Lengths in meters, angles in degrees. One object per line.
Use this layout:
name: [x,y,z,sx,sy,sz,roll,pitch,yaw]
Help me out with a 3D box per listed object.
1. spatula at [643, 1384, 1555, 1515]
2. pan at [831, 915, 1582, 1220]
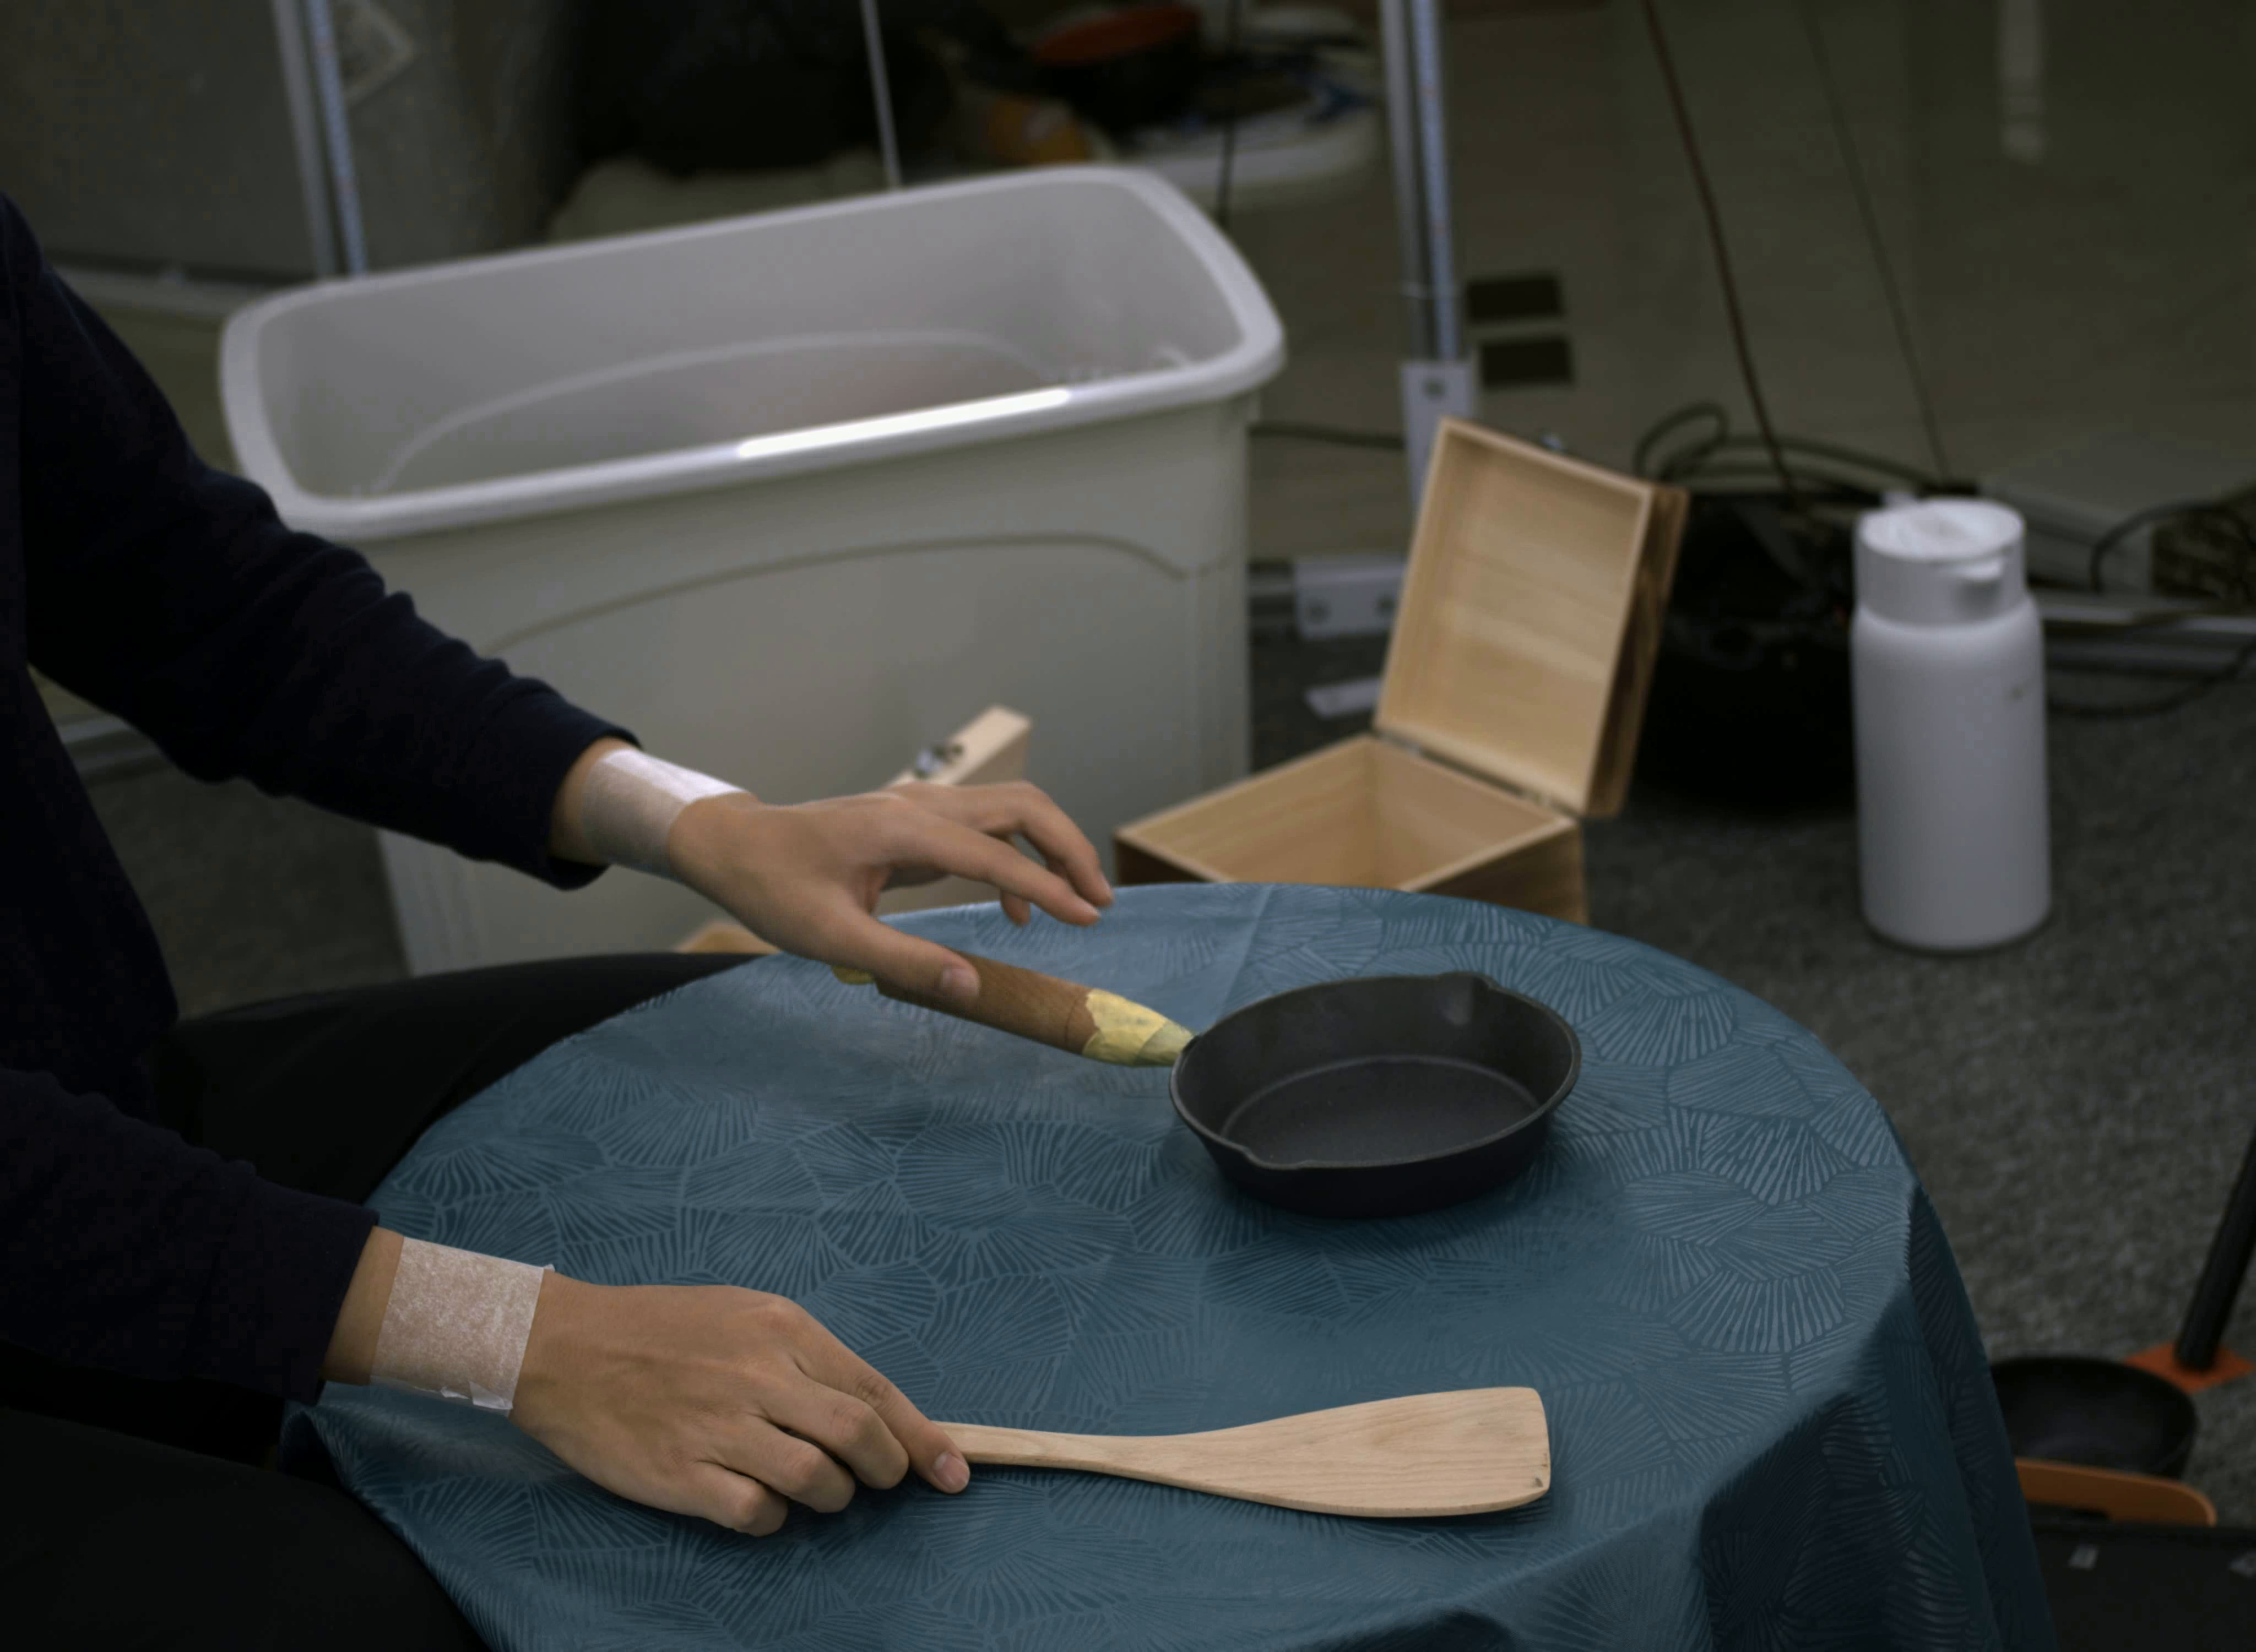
spatula: [-0.011,0.213,1.970,0.327,0.017,0.079,0,25,12]
pan: [0.023,0.085,2.196,0.322,0.050,0.167,11,31,30]
